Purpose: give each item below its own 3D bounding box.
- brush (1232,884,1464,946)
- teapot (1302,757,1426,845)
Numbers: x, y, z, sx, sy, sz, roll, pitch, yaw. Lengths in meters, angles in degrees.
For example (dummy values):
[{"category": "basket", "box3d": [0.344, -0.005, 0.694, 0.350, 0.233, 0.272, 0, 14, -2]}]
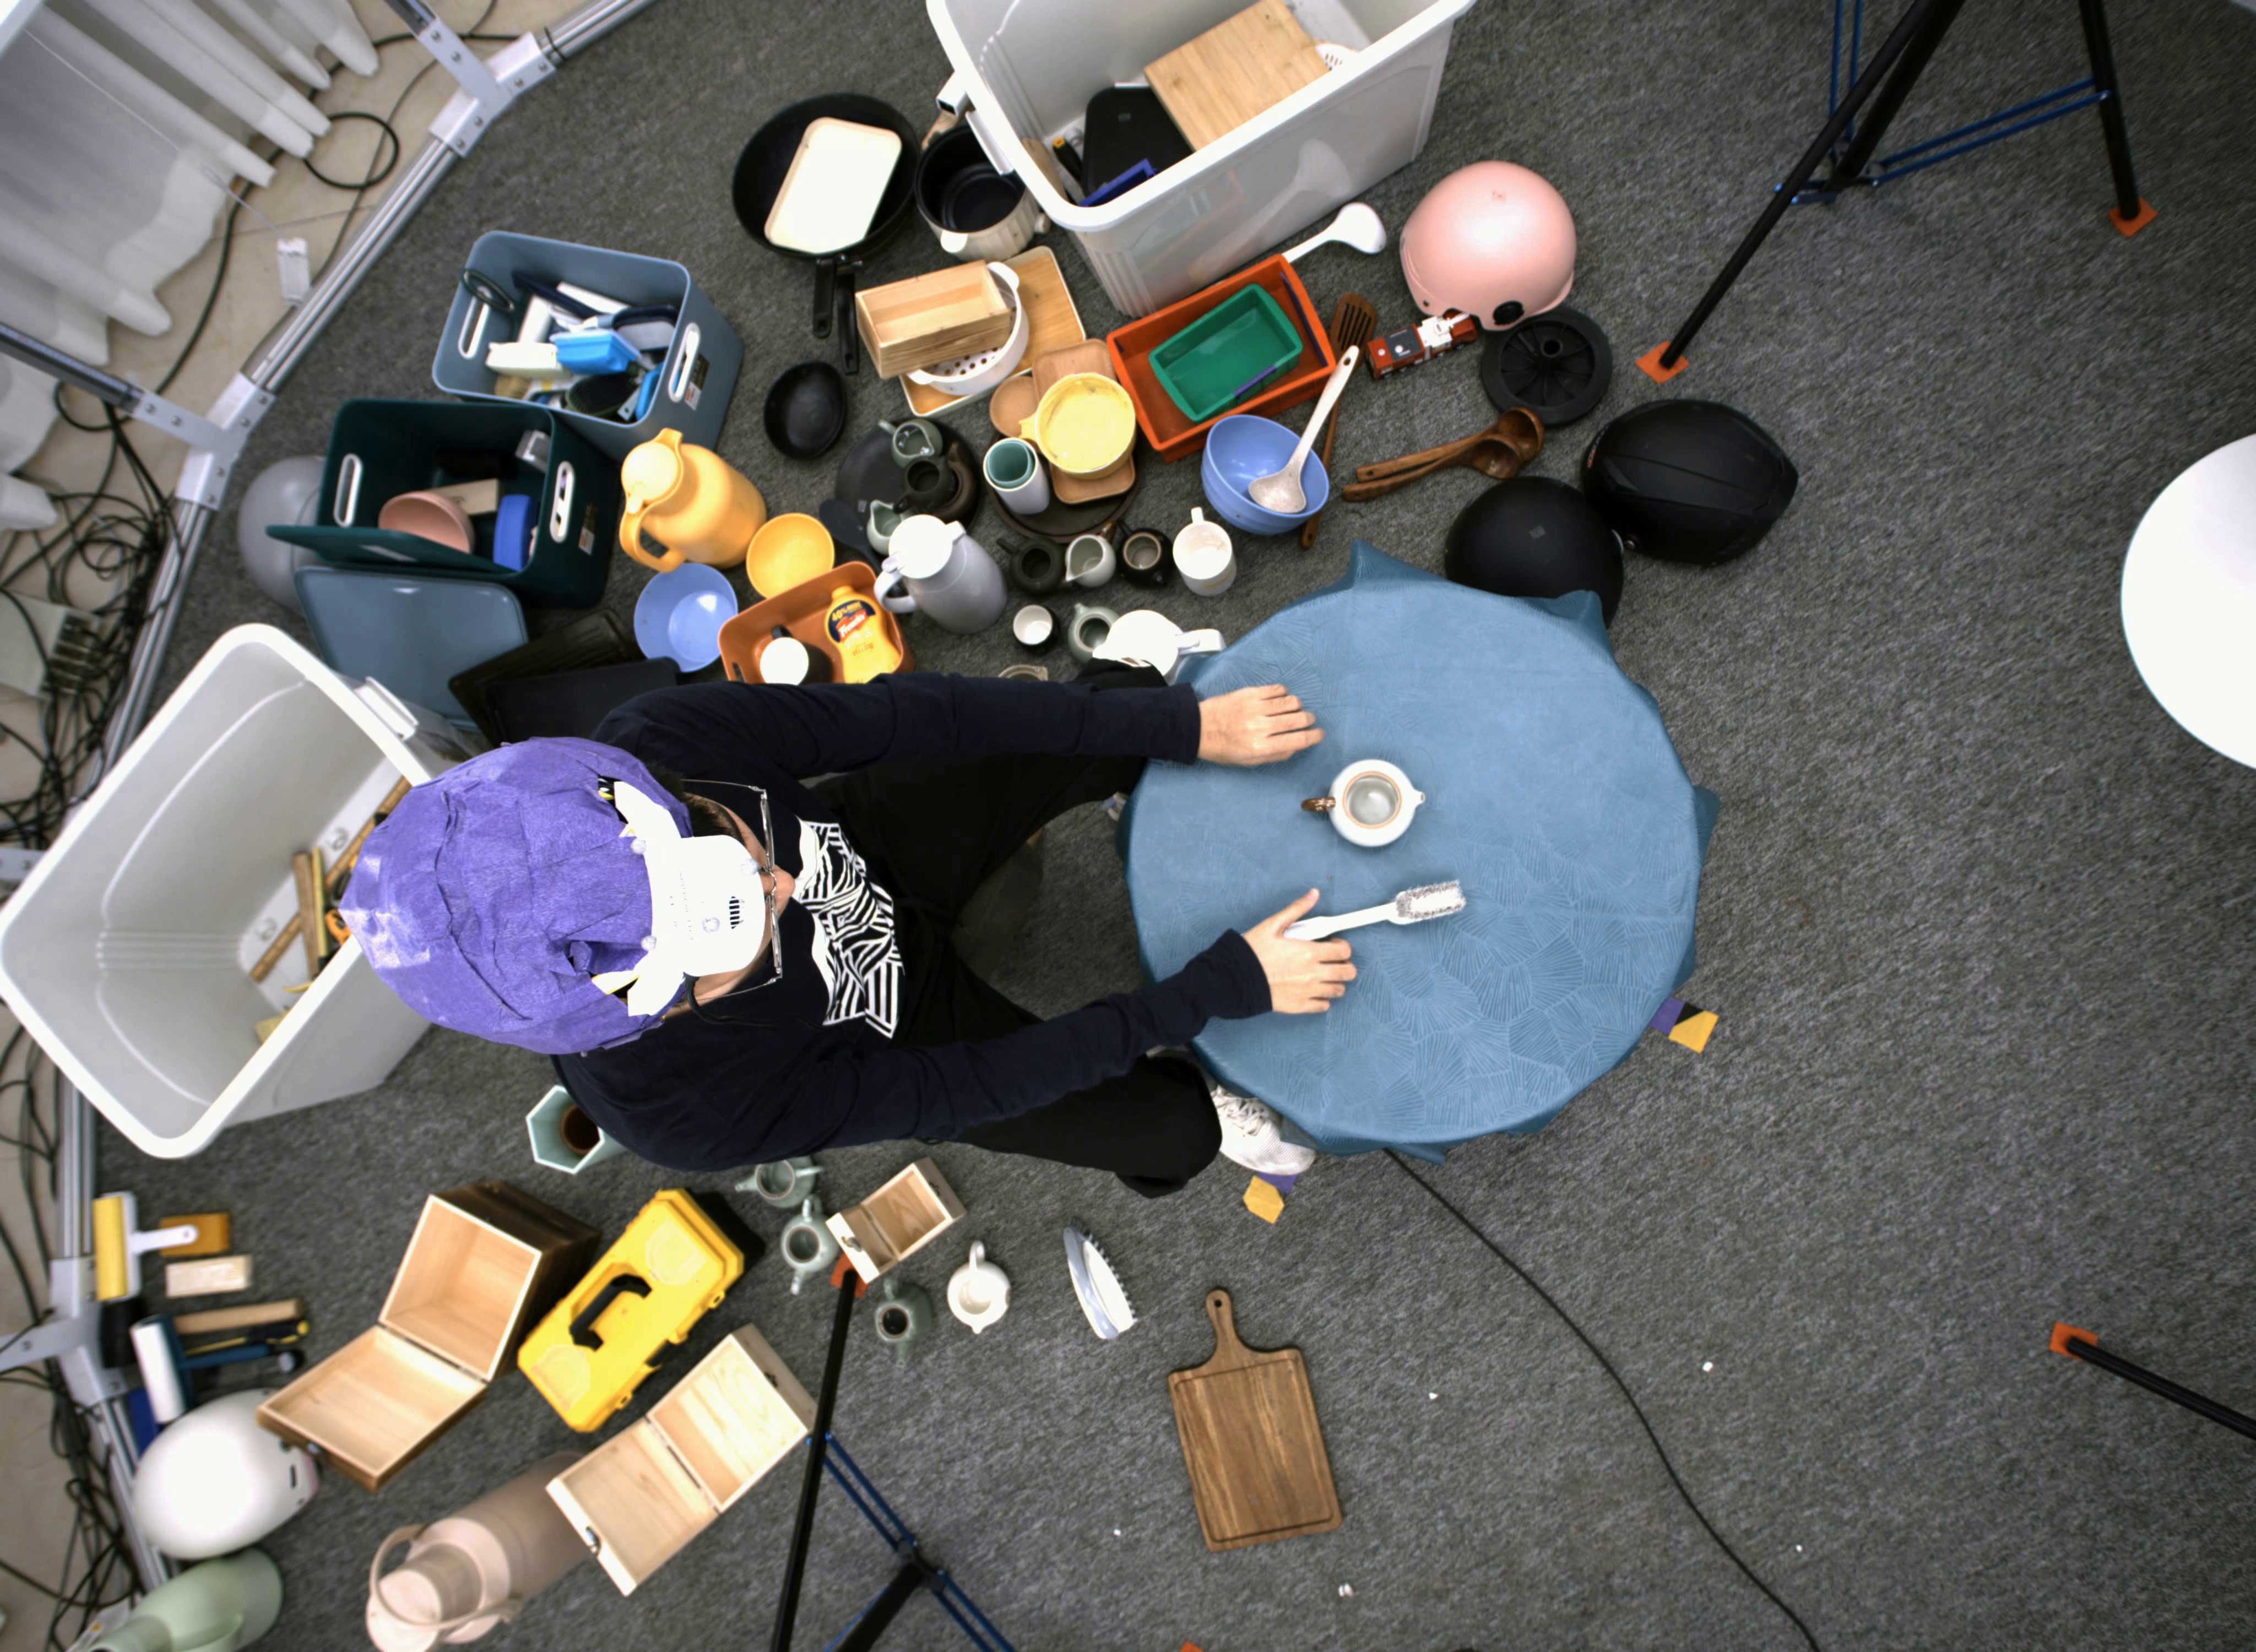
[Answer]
[{"category": "brush", "box3d": [0.226, 0.095, 1.442, 0.245, 0.050, 0.034, -11, 88, 10]}, {"category": "teapot", "box3d": [0.245, -0.027, 1.440, 0.128, 0.059, 0.091, -5, 89, 8]}]
